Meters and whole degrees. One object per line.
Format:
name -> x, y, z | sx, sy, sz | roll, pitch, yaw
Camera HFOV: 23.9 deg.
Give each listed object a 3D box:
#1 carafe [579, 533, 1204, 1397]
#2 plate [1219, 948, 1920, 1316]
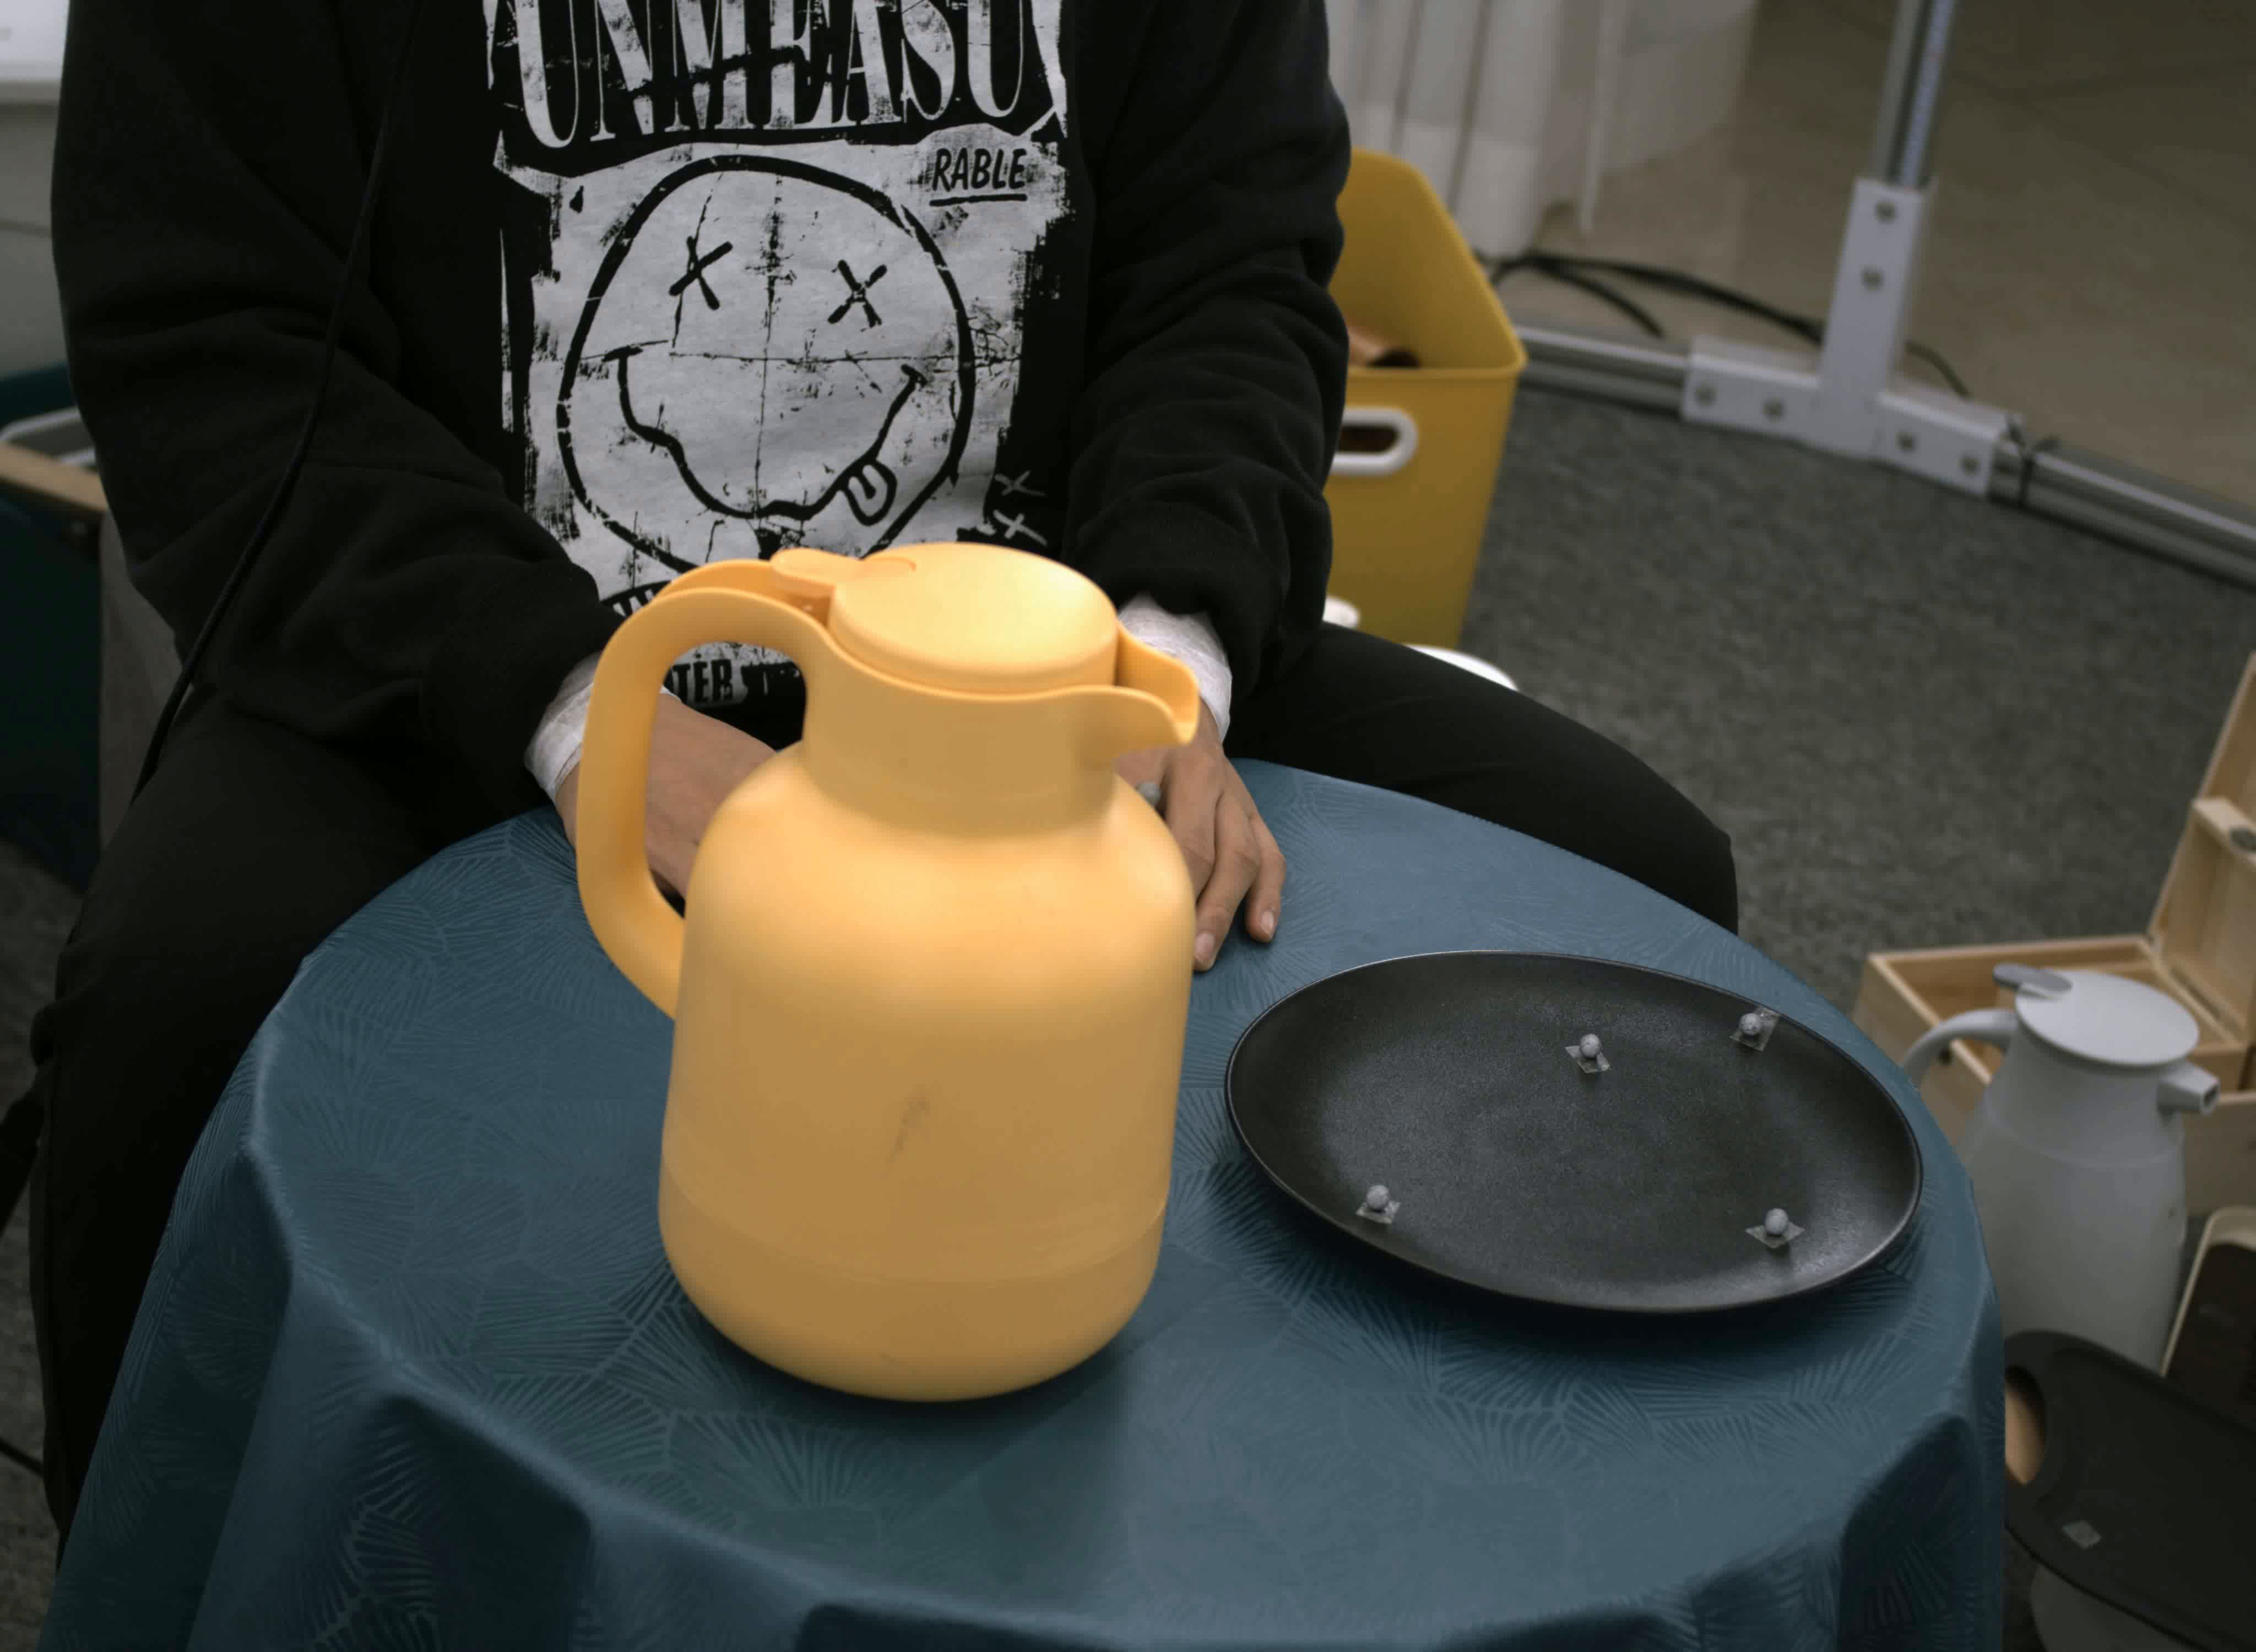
carafe -> -0.079, 0.033, 1.676 | 0.203, 0.260, 0.163 | 18, 26, 17
plate -> 0.152, 0.110, 1.839 | 0.243, 0.023, 0.246 | 5, 27, -3
